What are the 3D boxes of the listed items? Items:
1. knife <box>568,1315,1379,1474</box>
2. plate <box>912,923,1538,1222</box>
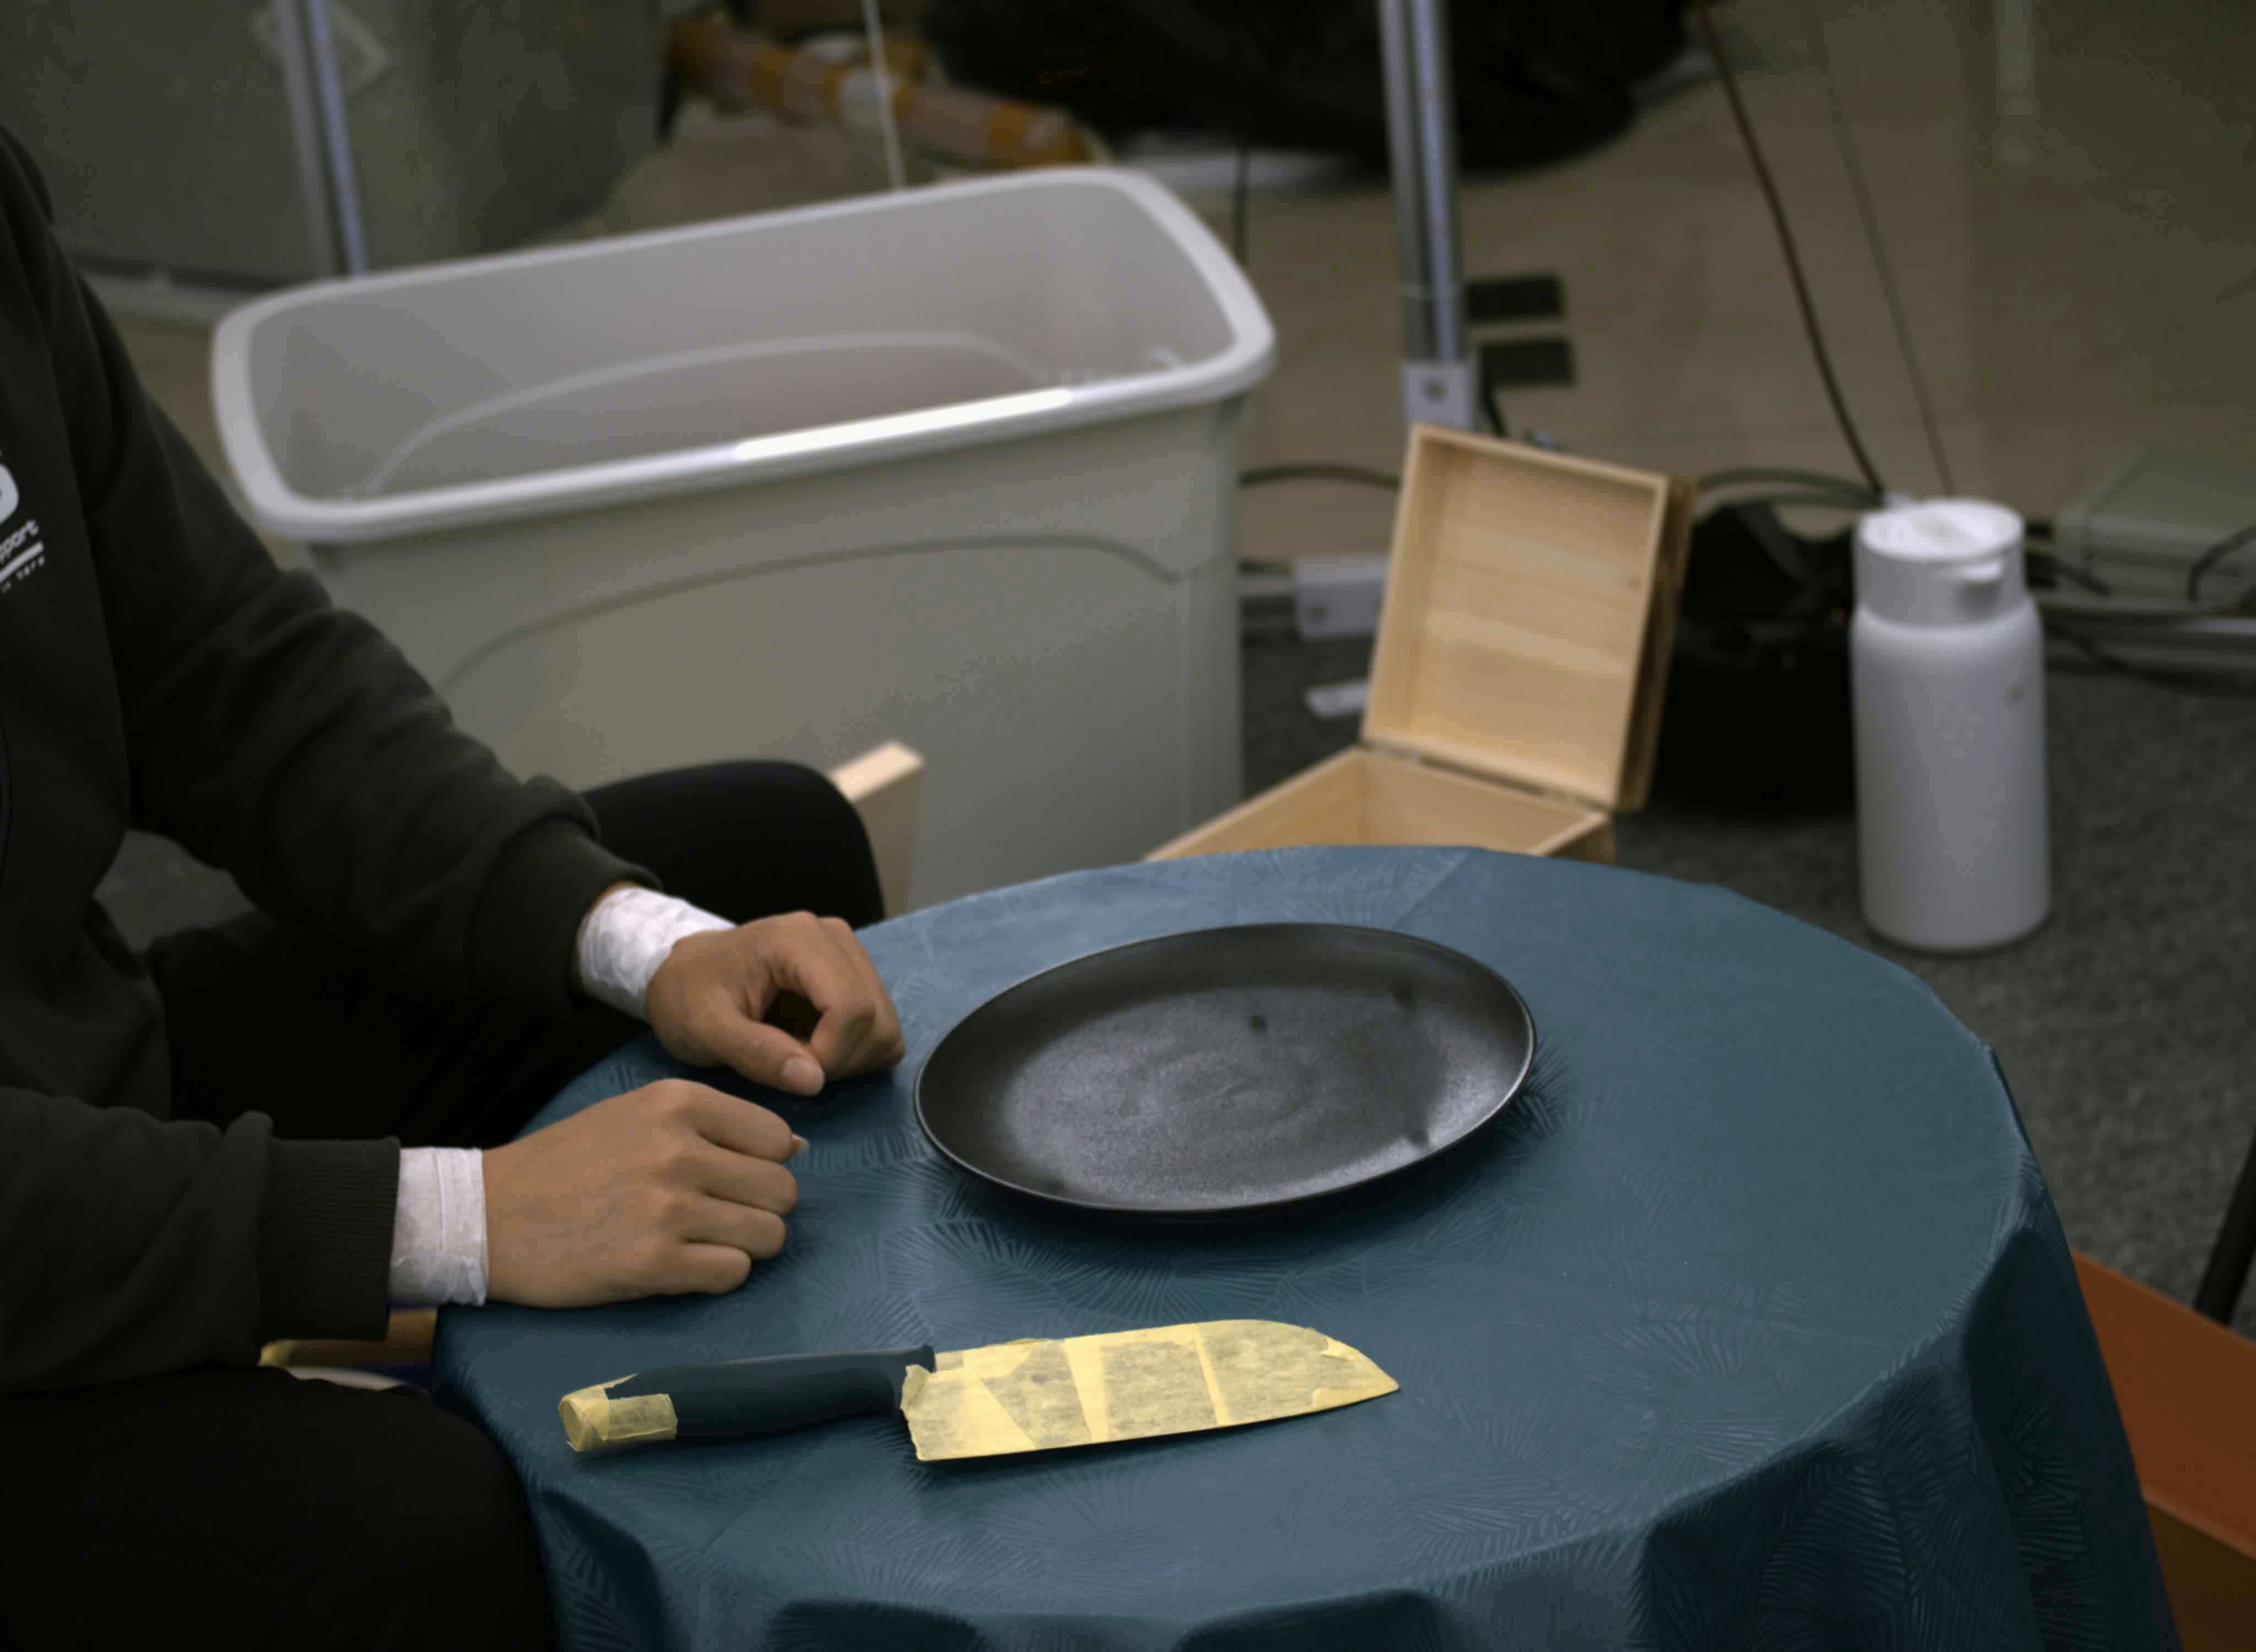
[{"bbox_3d":[-0.054,0.204,2.007,0.289,0.027,0.080,-7,23,-2],"label":"knife"},{"bbox_3d":[0.038,0.100,2.198,0.244,0.024,0.241,-5,25,3],"label":"plate"}]
